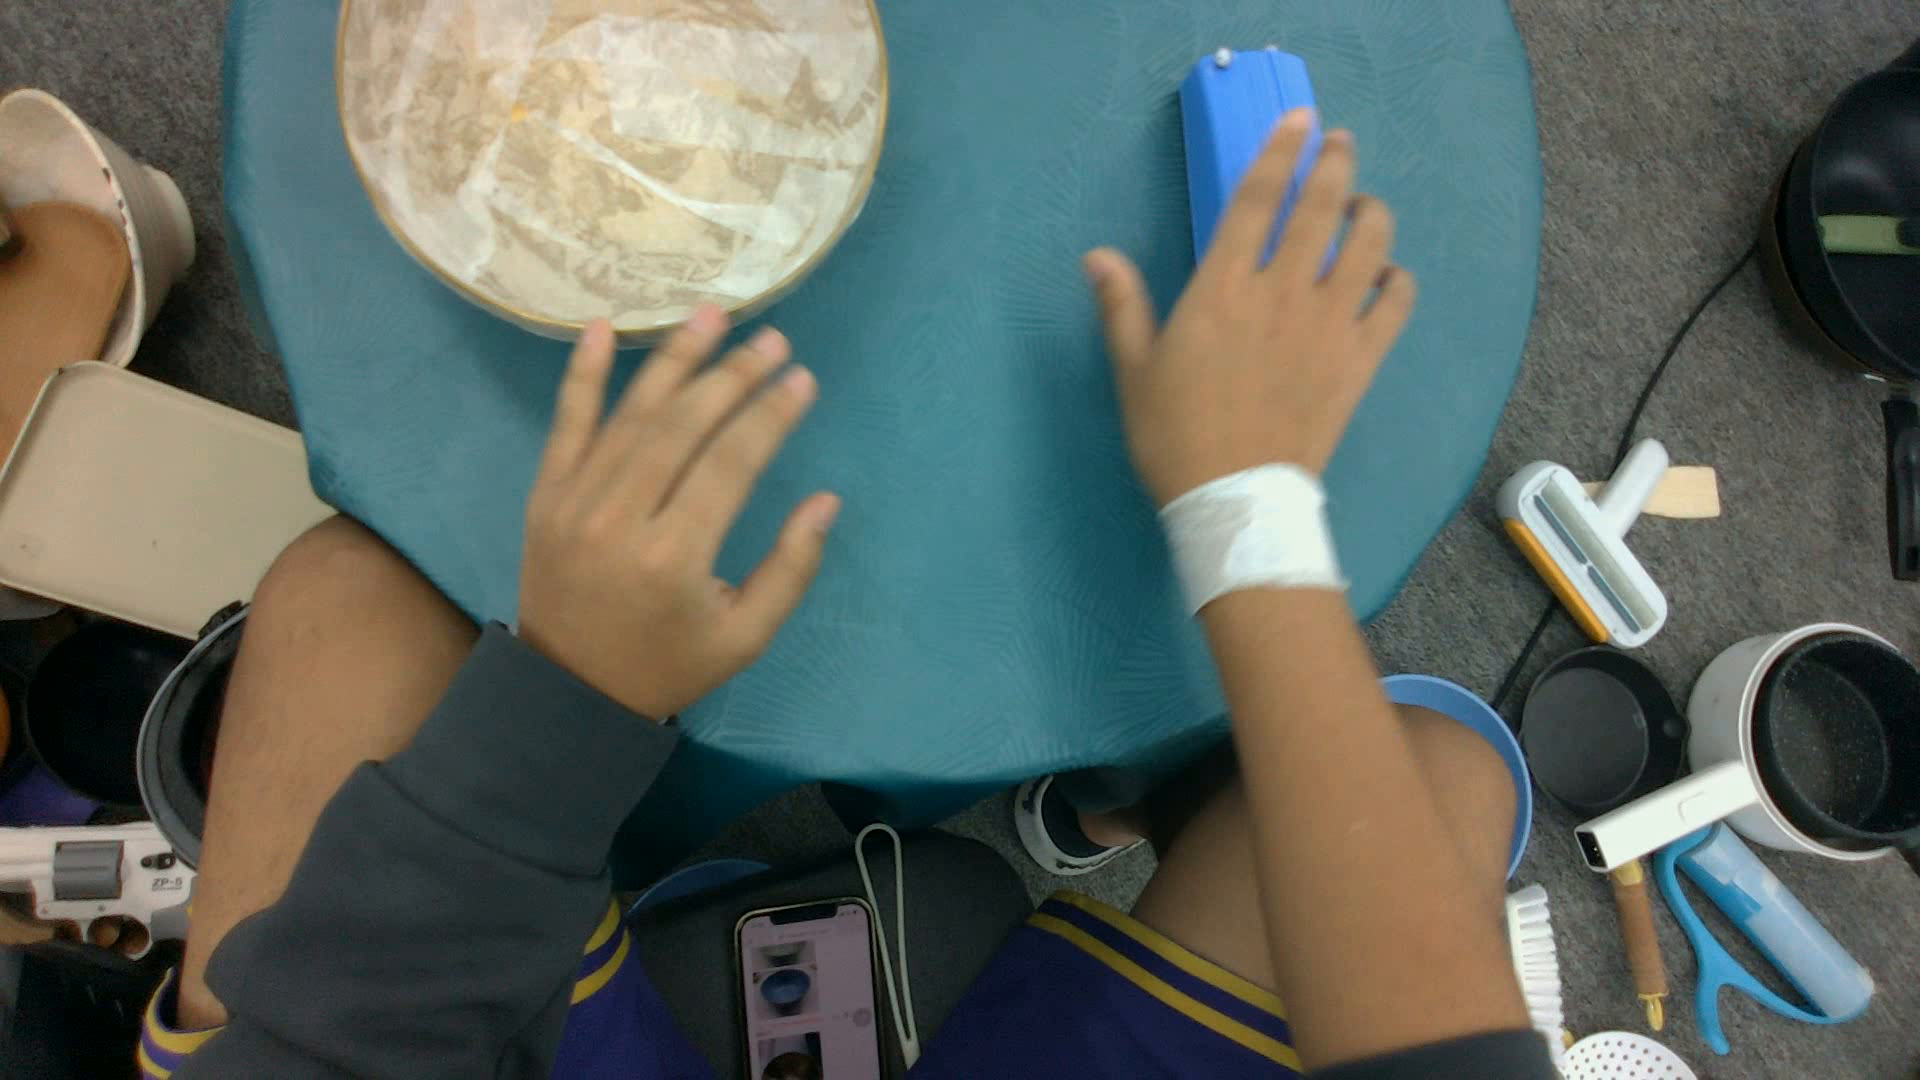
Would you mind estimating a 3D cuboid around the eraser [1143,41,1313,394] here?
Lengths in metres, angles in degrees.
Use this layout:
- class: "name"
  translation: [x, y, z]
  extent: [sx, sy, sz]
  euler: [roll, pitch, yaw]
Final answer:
- class: "eraser"
  translation: [0.125, -0.151, 0.631]
  extent: [0.054, 0.047, 0.162]
  euler: [-5, 82, -16]

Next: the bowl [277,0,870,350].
- class: "bowl"
  translation: [-0.146, -0.166, 0.553]
  extent: [0.215, 0.094, 0.215]
  euler: [2, 81, -12]
